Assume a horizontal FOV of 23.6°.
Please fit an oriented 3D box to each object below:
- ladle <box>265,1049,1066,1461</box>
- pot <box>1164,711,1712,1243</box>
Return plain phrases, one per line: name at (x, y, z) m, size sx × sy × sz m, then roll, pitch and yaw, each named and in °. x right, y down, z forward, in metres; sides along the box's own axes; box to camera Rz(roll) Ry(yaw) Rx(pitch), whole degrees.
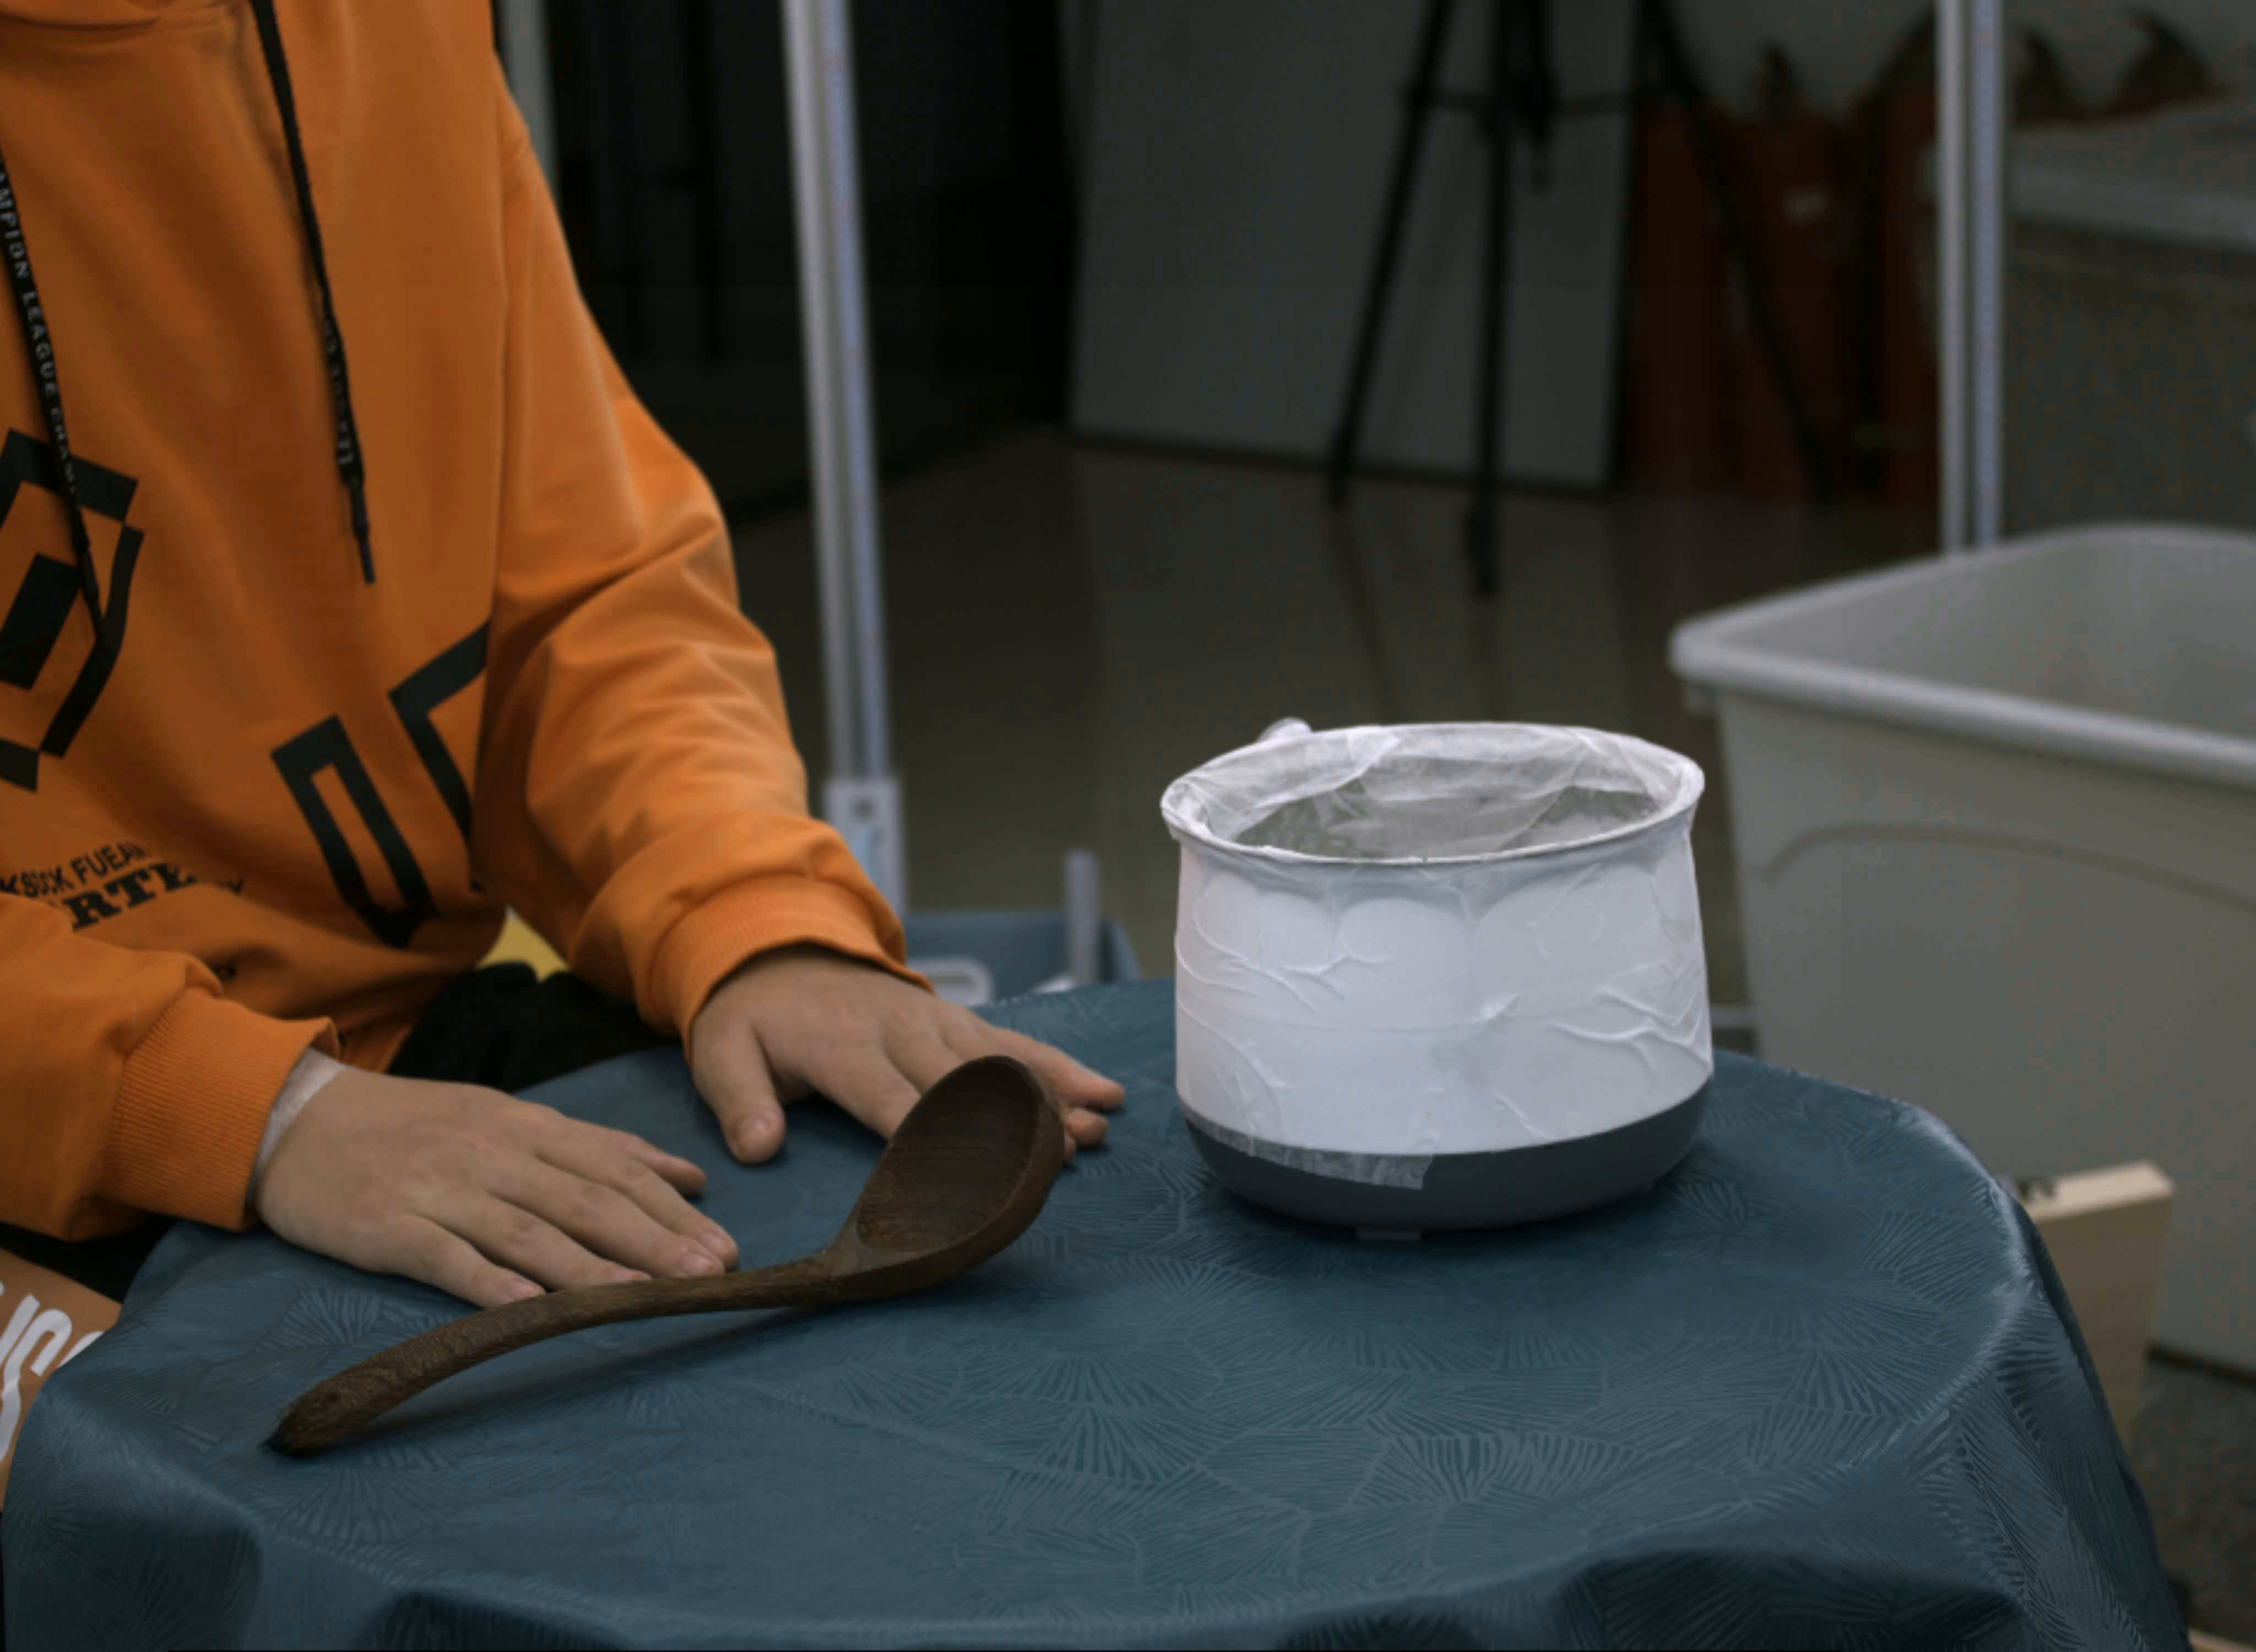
ladle at (-0.138, 0.127, 1.642) m, size 0.268 × 0.072 × 0.077 m, roll -12°, pitch 13°, yaw -31°
pot at (0.088, 0.042, 1.773) m, size 0.175 × 0.138 × 0.236 m, roll -10°, pitch 15°, yaw -25°
